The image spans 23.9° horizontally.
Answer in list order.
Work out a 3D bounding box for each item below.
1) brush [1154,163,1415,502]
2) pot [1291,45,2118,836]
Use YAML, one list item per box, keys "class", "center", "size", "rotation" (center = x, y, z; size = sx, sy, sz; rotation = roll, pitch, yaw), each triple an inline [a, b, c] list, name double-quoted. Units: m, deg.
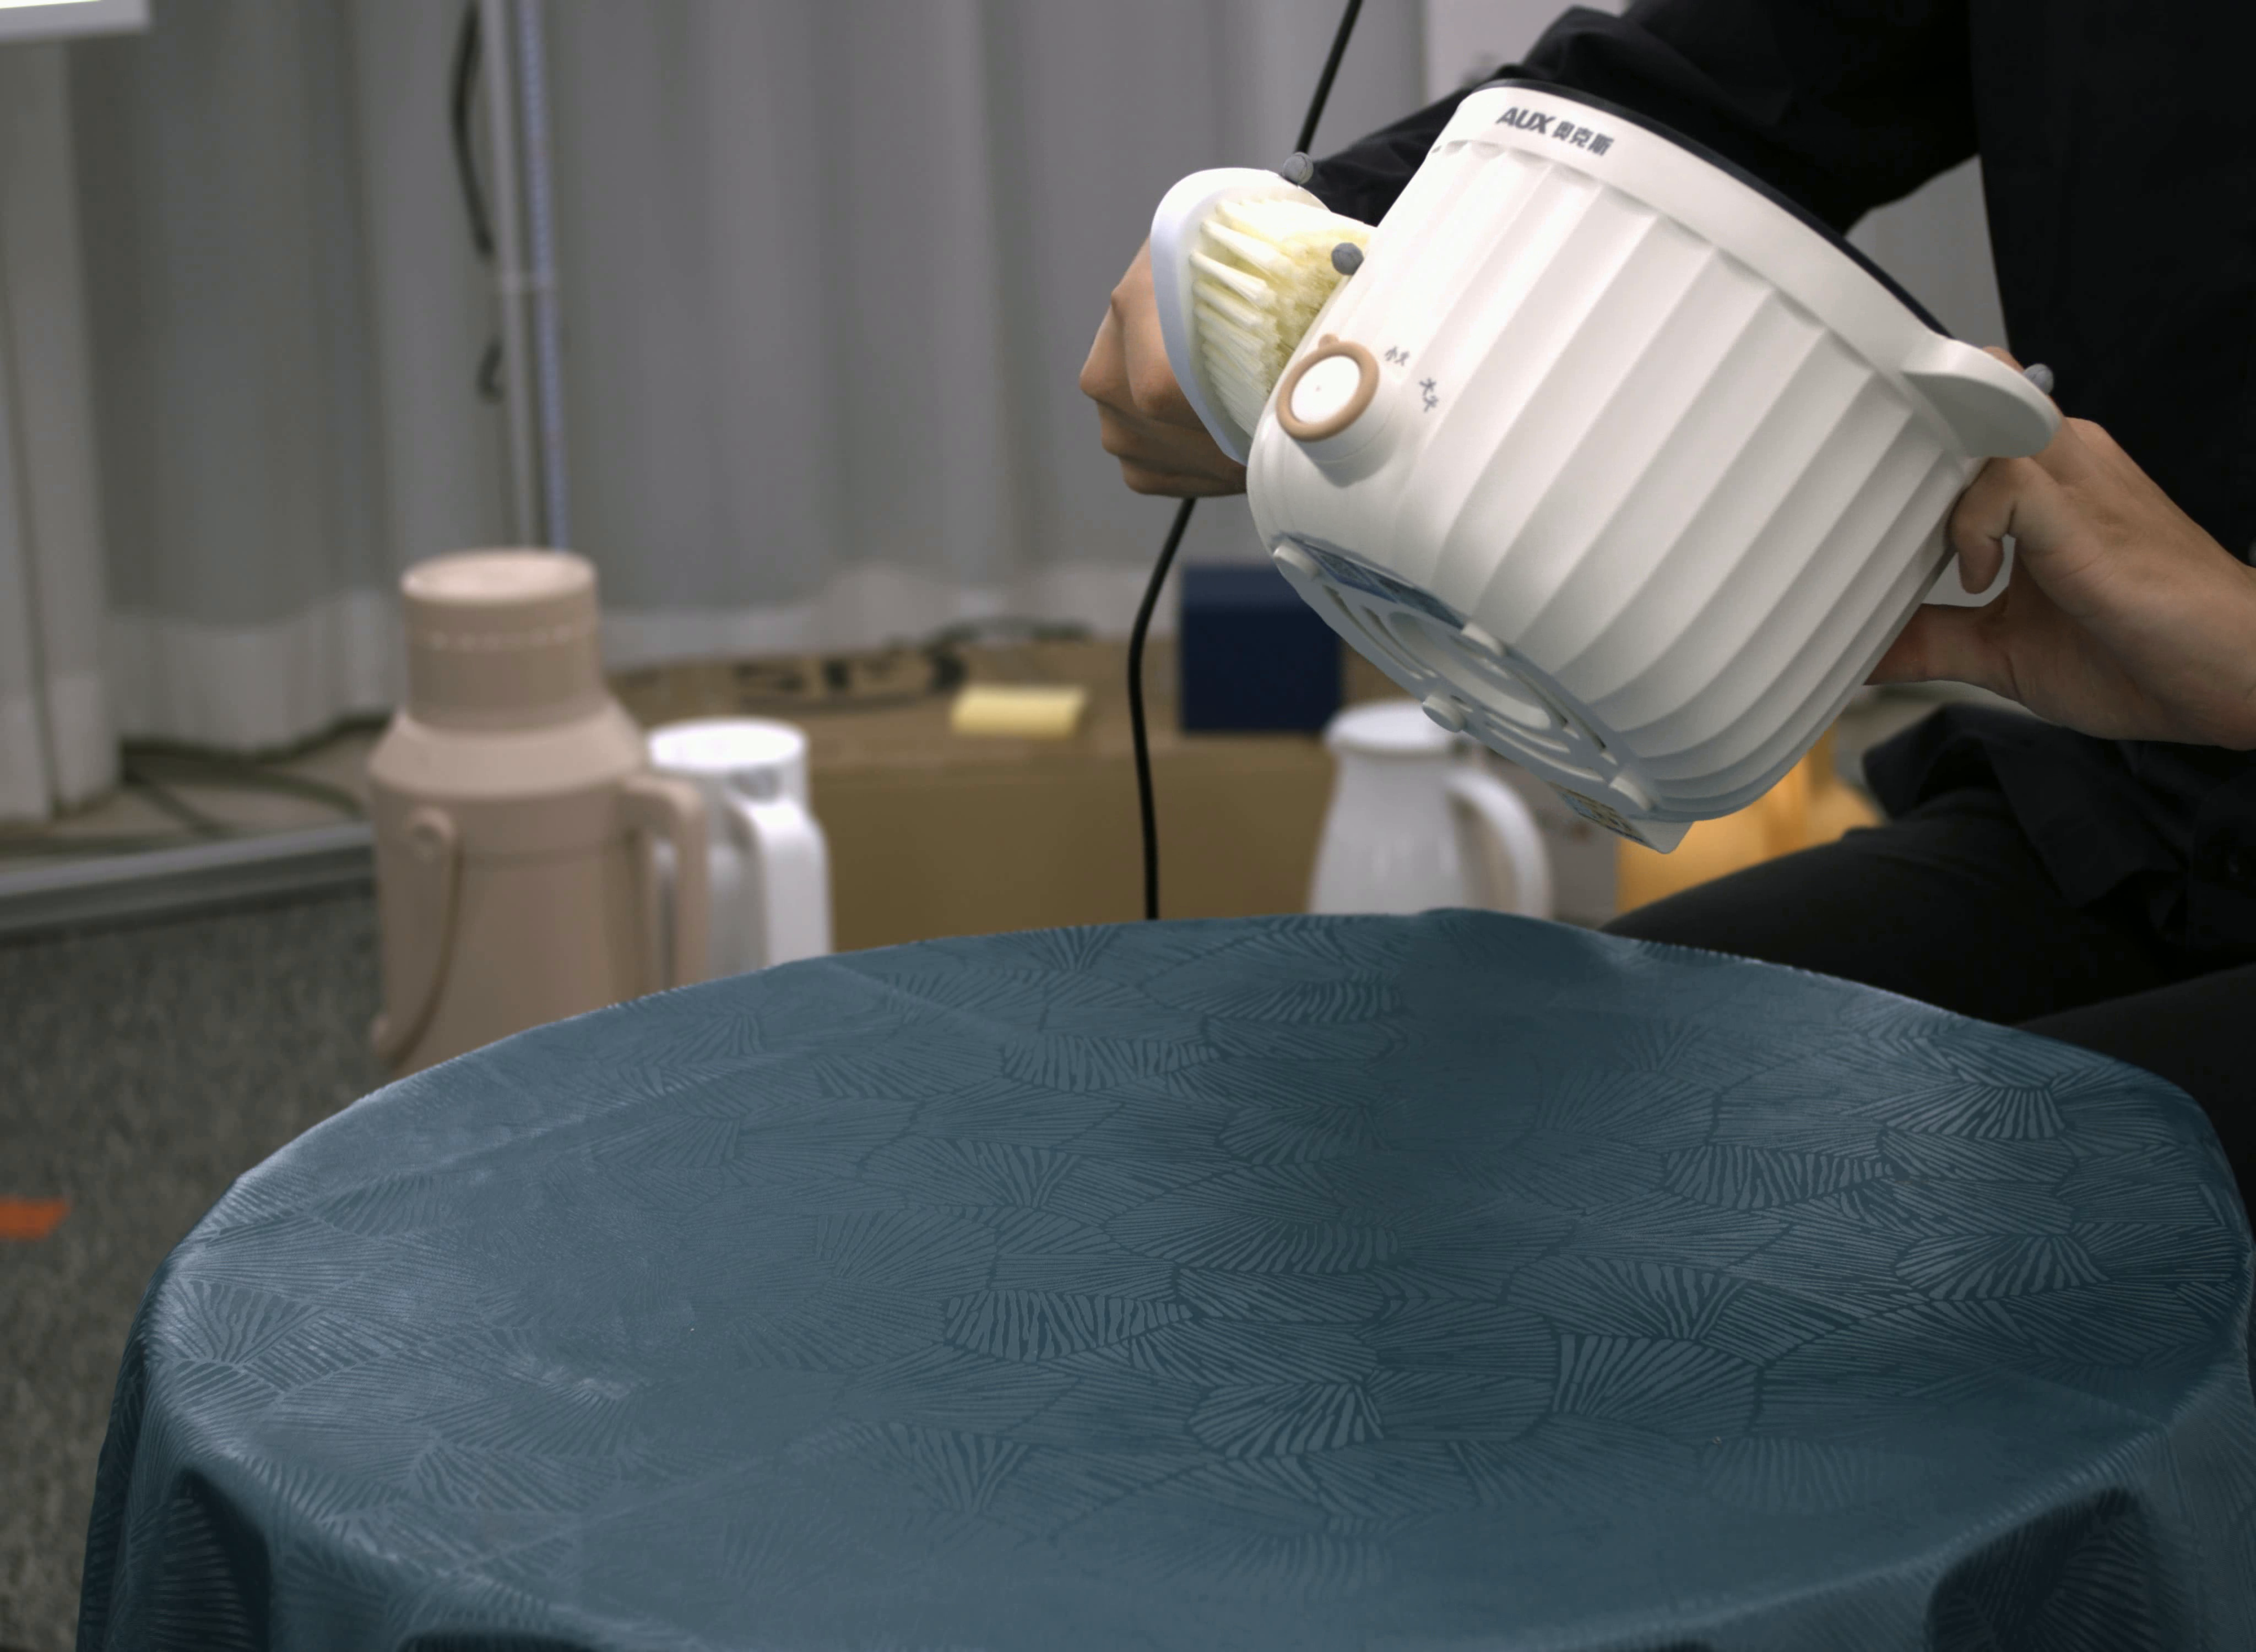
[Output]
- class: "brush"
  center: [0.061, -0.130, 1.593]
  size: [0.083, 0.085, 0.323]
  rotation: [-23, -11, 1]
- class: "pot"
  center: [0.137, -0.099, 1.415]
  size: [0.246, 0.186, 0.142]
  rotation: [25, 74, 47]
